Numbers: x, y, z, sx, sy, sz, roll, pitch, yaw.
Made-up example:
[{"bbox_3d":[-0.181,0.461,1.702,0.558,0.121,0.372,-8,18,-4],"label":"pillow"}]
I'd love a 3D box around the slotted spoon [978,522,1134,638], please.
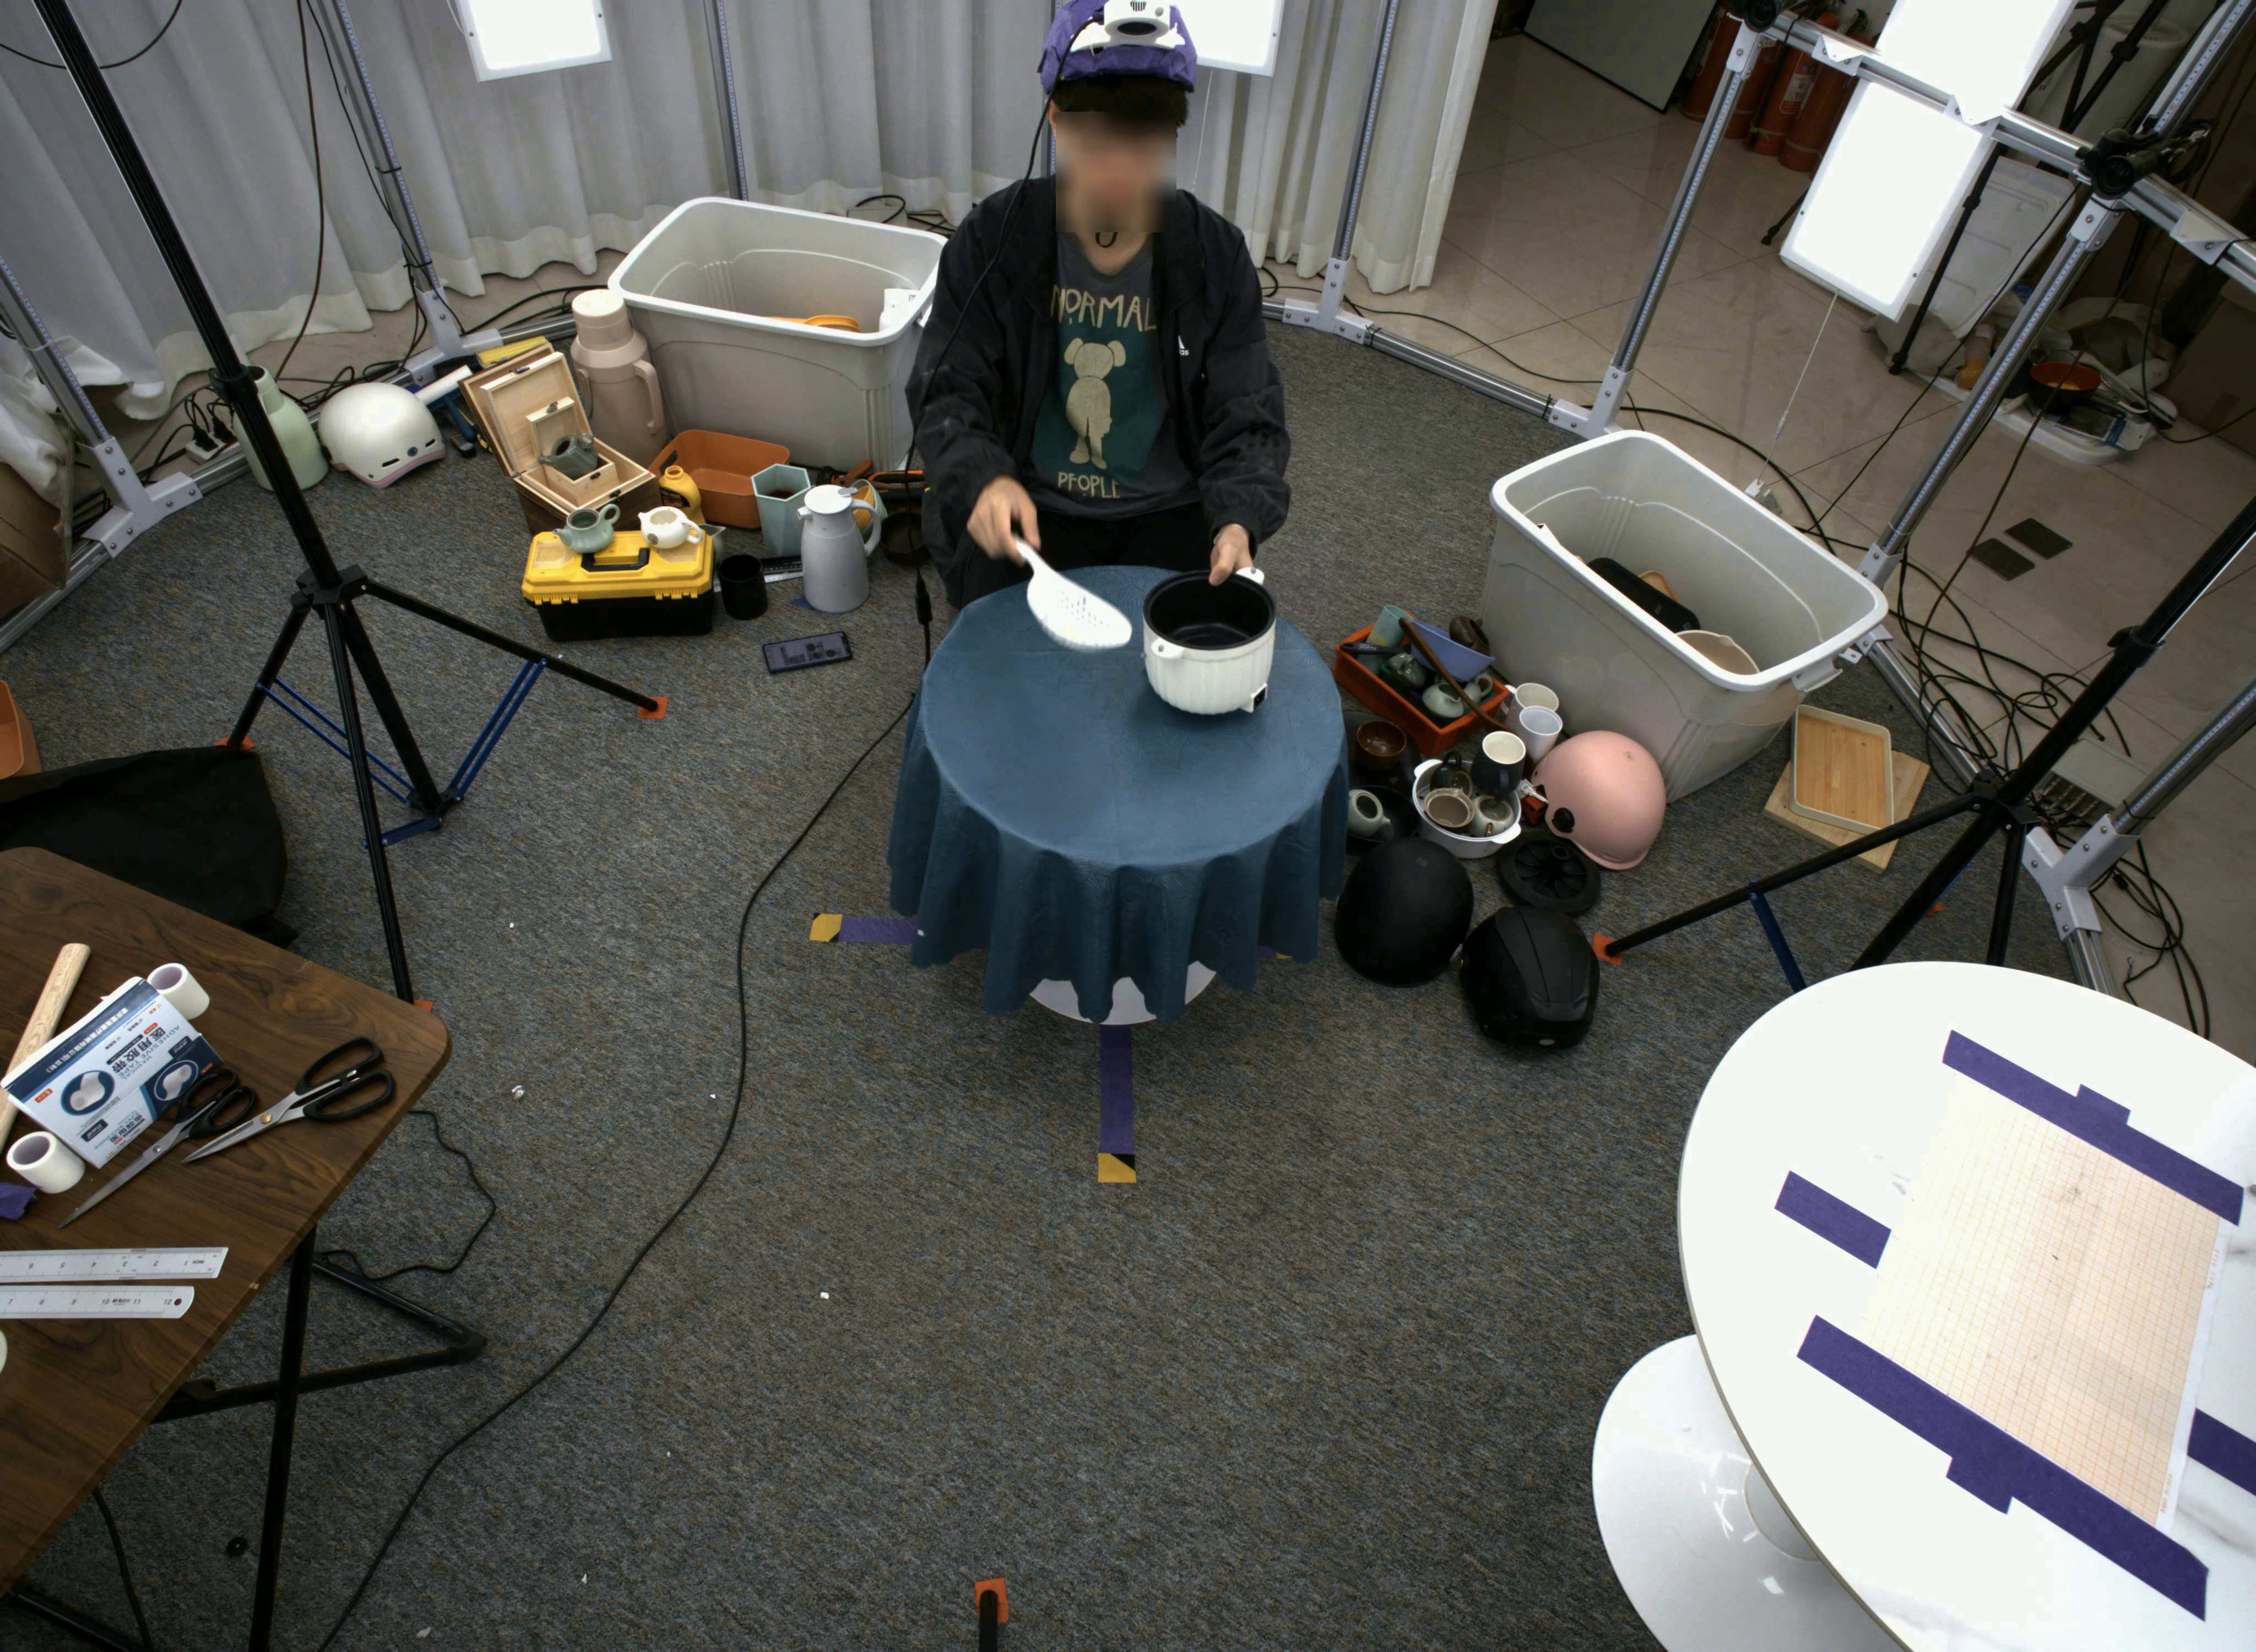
[{"bbox_3d":[-0.115,-0.339,1.725,0.136,0.049,0.356,-2,40,-34],"label":"slotted spoon"}]

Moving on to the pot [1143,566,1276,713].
[{"bbox_3d":[0.106,-0.253,1.788,0.193,0.139,0.243,28,50,24],"label":"pot"}]
